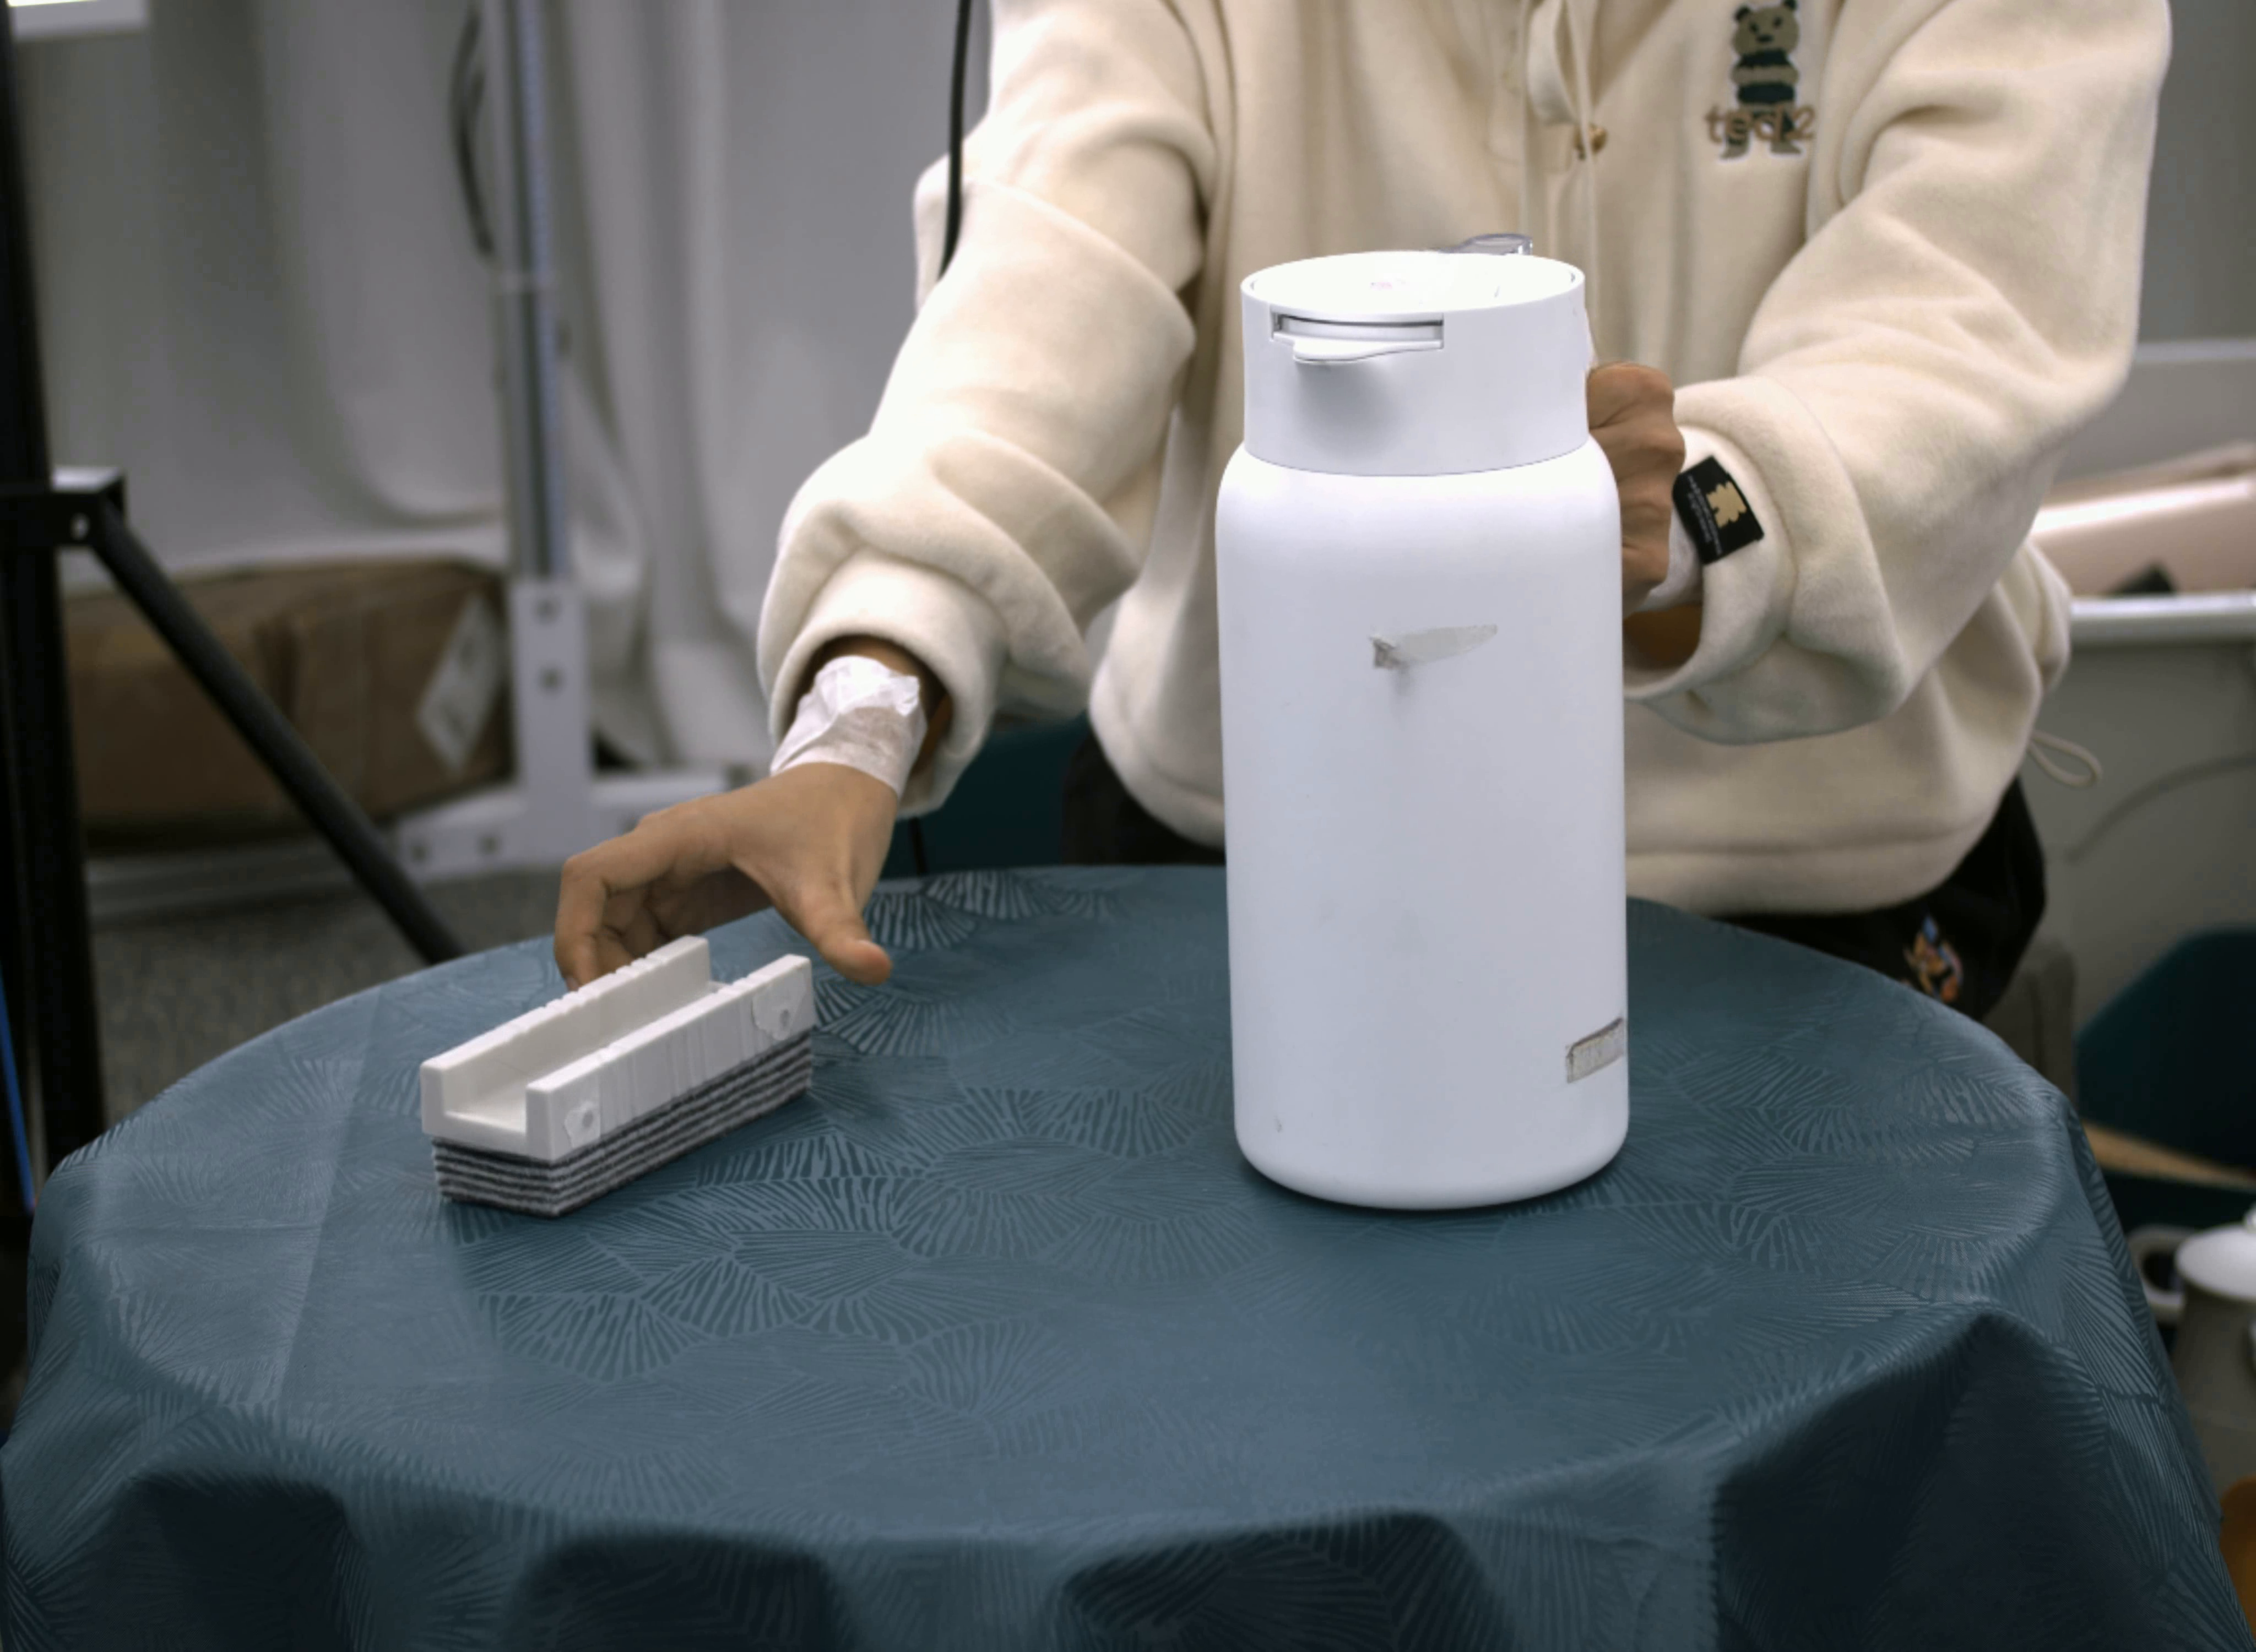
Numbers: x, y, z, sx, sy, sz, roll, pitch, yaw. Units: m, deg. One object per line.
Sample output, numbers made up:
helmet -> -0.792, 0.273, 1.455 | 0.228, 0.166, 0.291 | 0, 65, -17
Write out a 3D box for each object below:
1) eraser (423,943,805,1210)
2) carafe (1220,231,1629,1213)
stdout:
eraser -> -0.154, 0.074, 1.616 | 0.050, 0.046, 0.132 | 4, 17, 30
carafe -> 0.093, -0.034, 1.557 | 0.126, 0.269, 0.170 | 3, 16, 27
